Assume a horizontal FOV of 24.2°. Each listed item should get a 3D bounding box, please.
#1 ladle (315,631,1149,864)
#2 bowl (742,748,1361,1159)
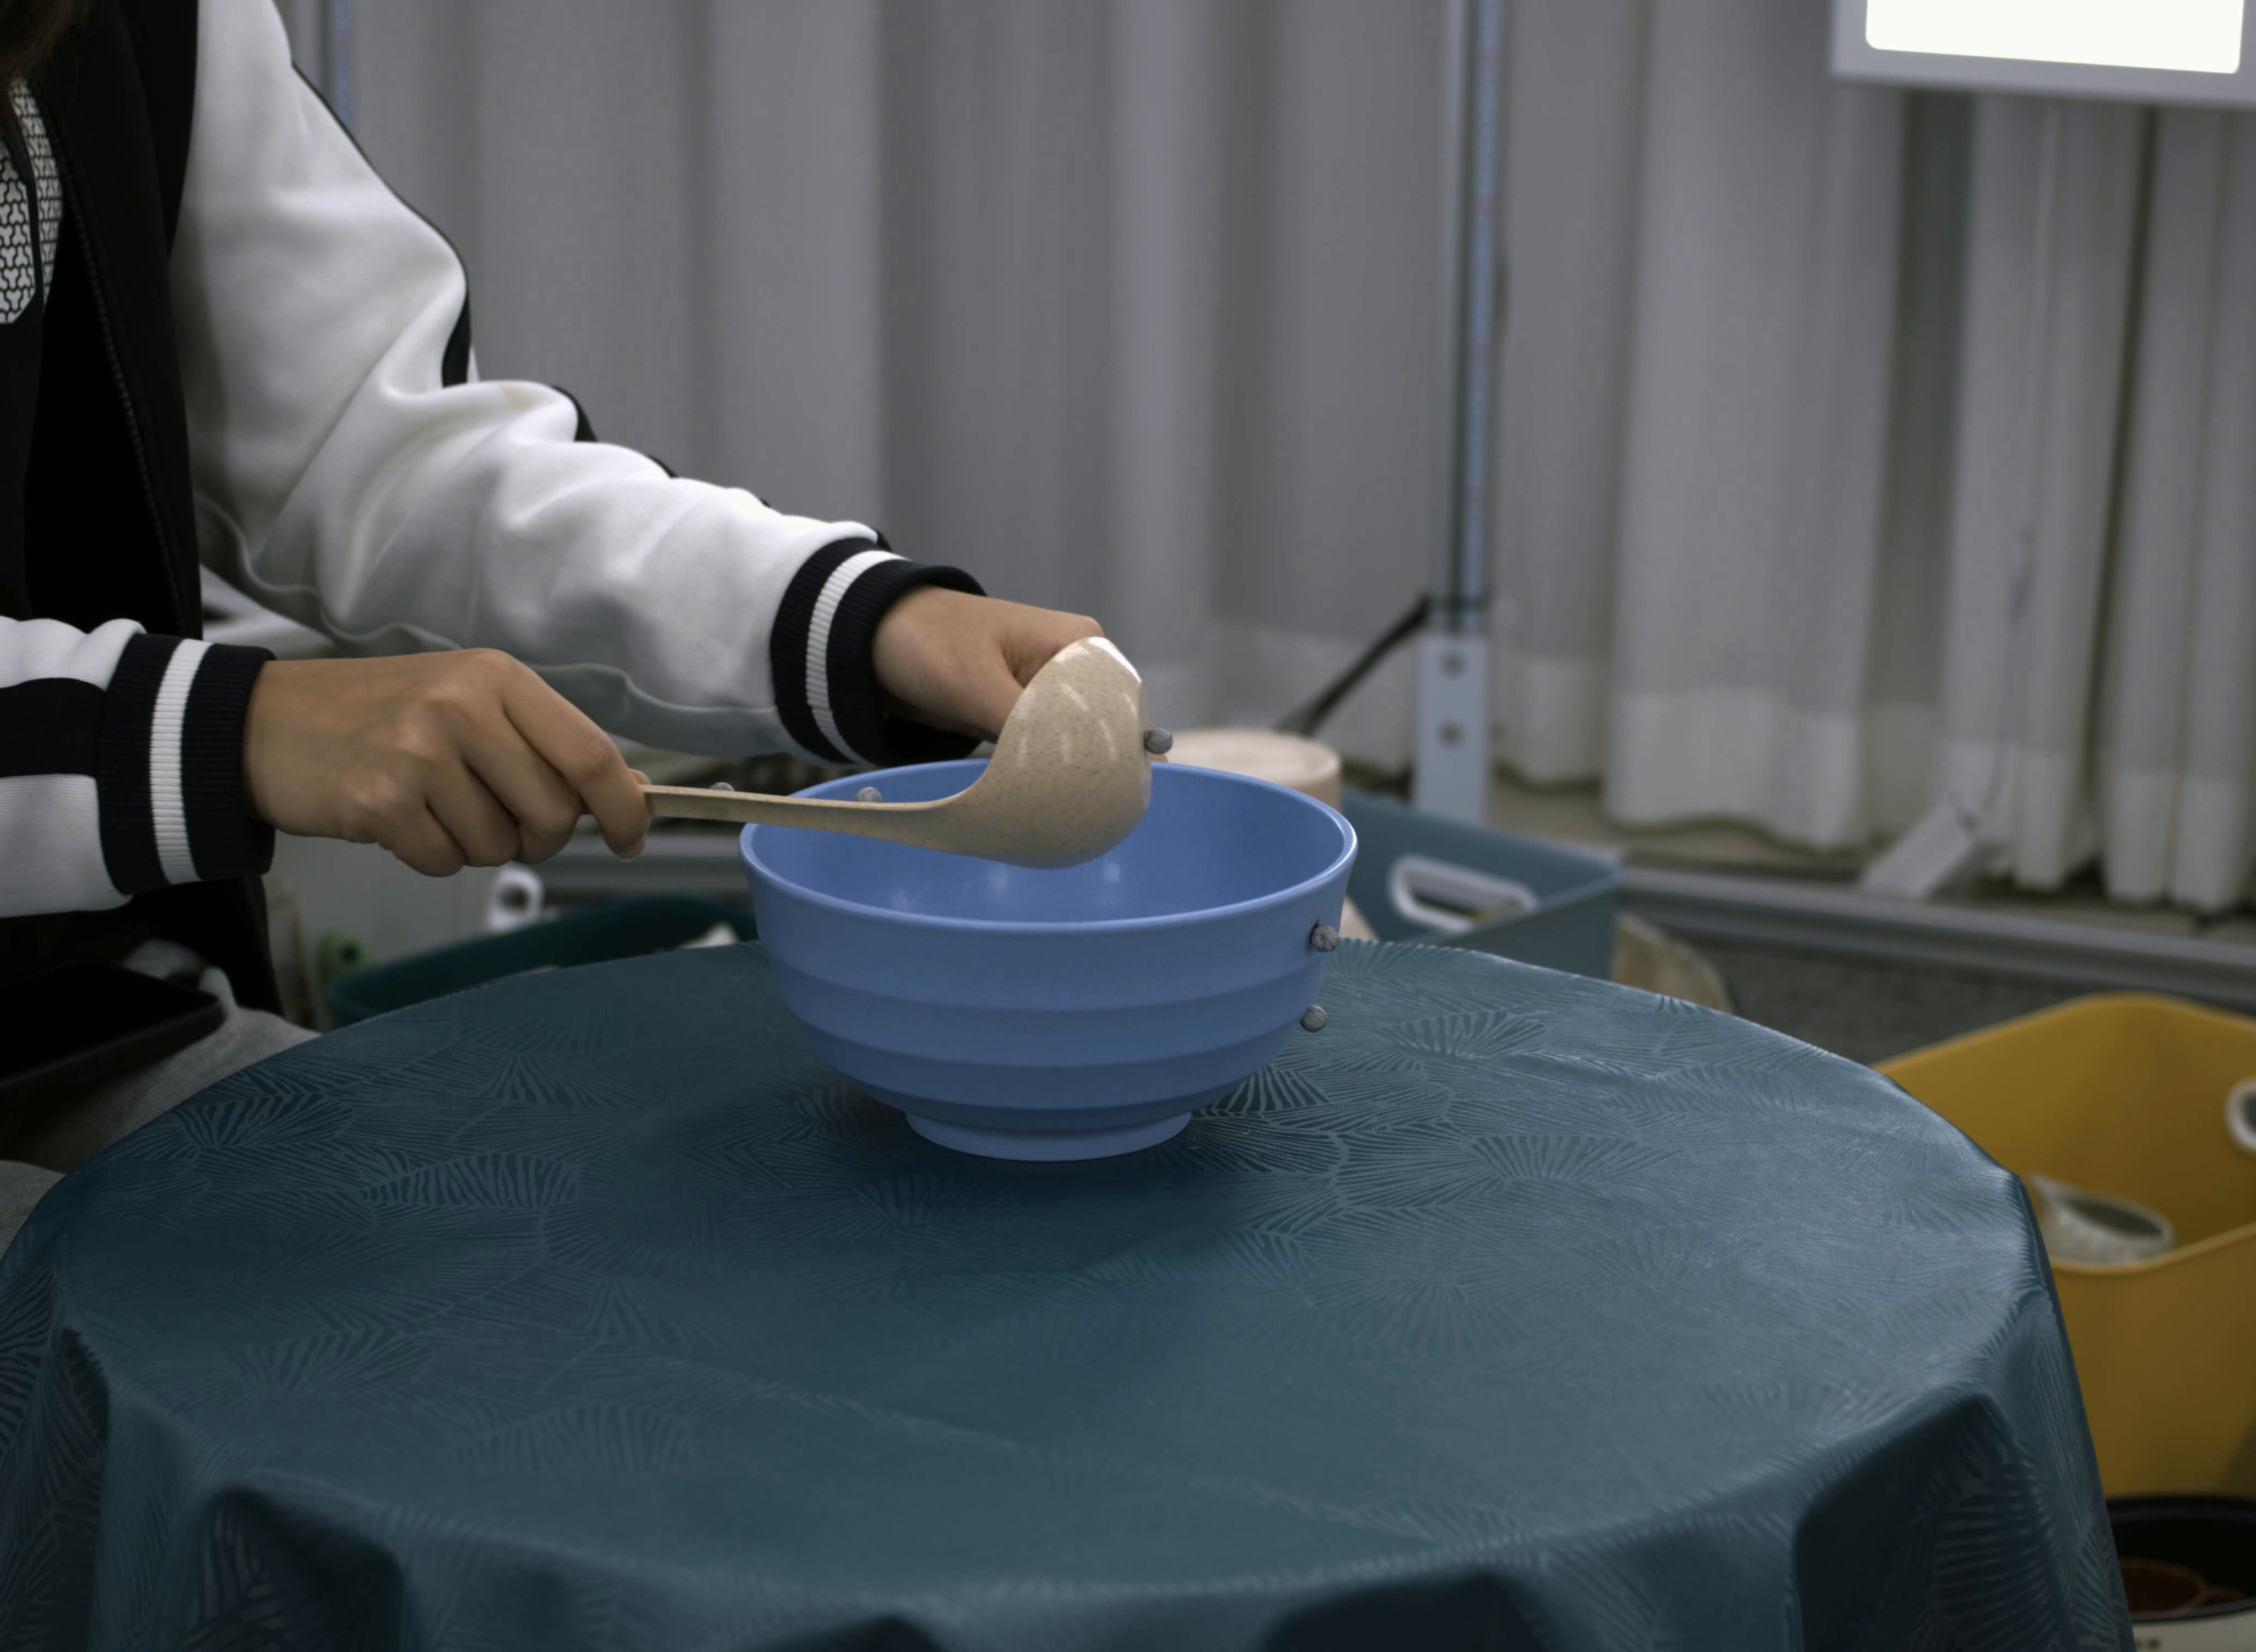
[{"bbox_3d":[-0.119,-0.030,1.615,0.253,0.073,0.072,4,58,5],"label":"ladle"},{"bbox_3d":[-0.026,0.046,1.677,0.196,0.096,0.195,3,16,0],"label":"bowl"}]
